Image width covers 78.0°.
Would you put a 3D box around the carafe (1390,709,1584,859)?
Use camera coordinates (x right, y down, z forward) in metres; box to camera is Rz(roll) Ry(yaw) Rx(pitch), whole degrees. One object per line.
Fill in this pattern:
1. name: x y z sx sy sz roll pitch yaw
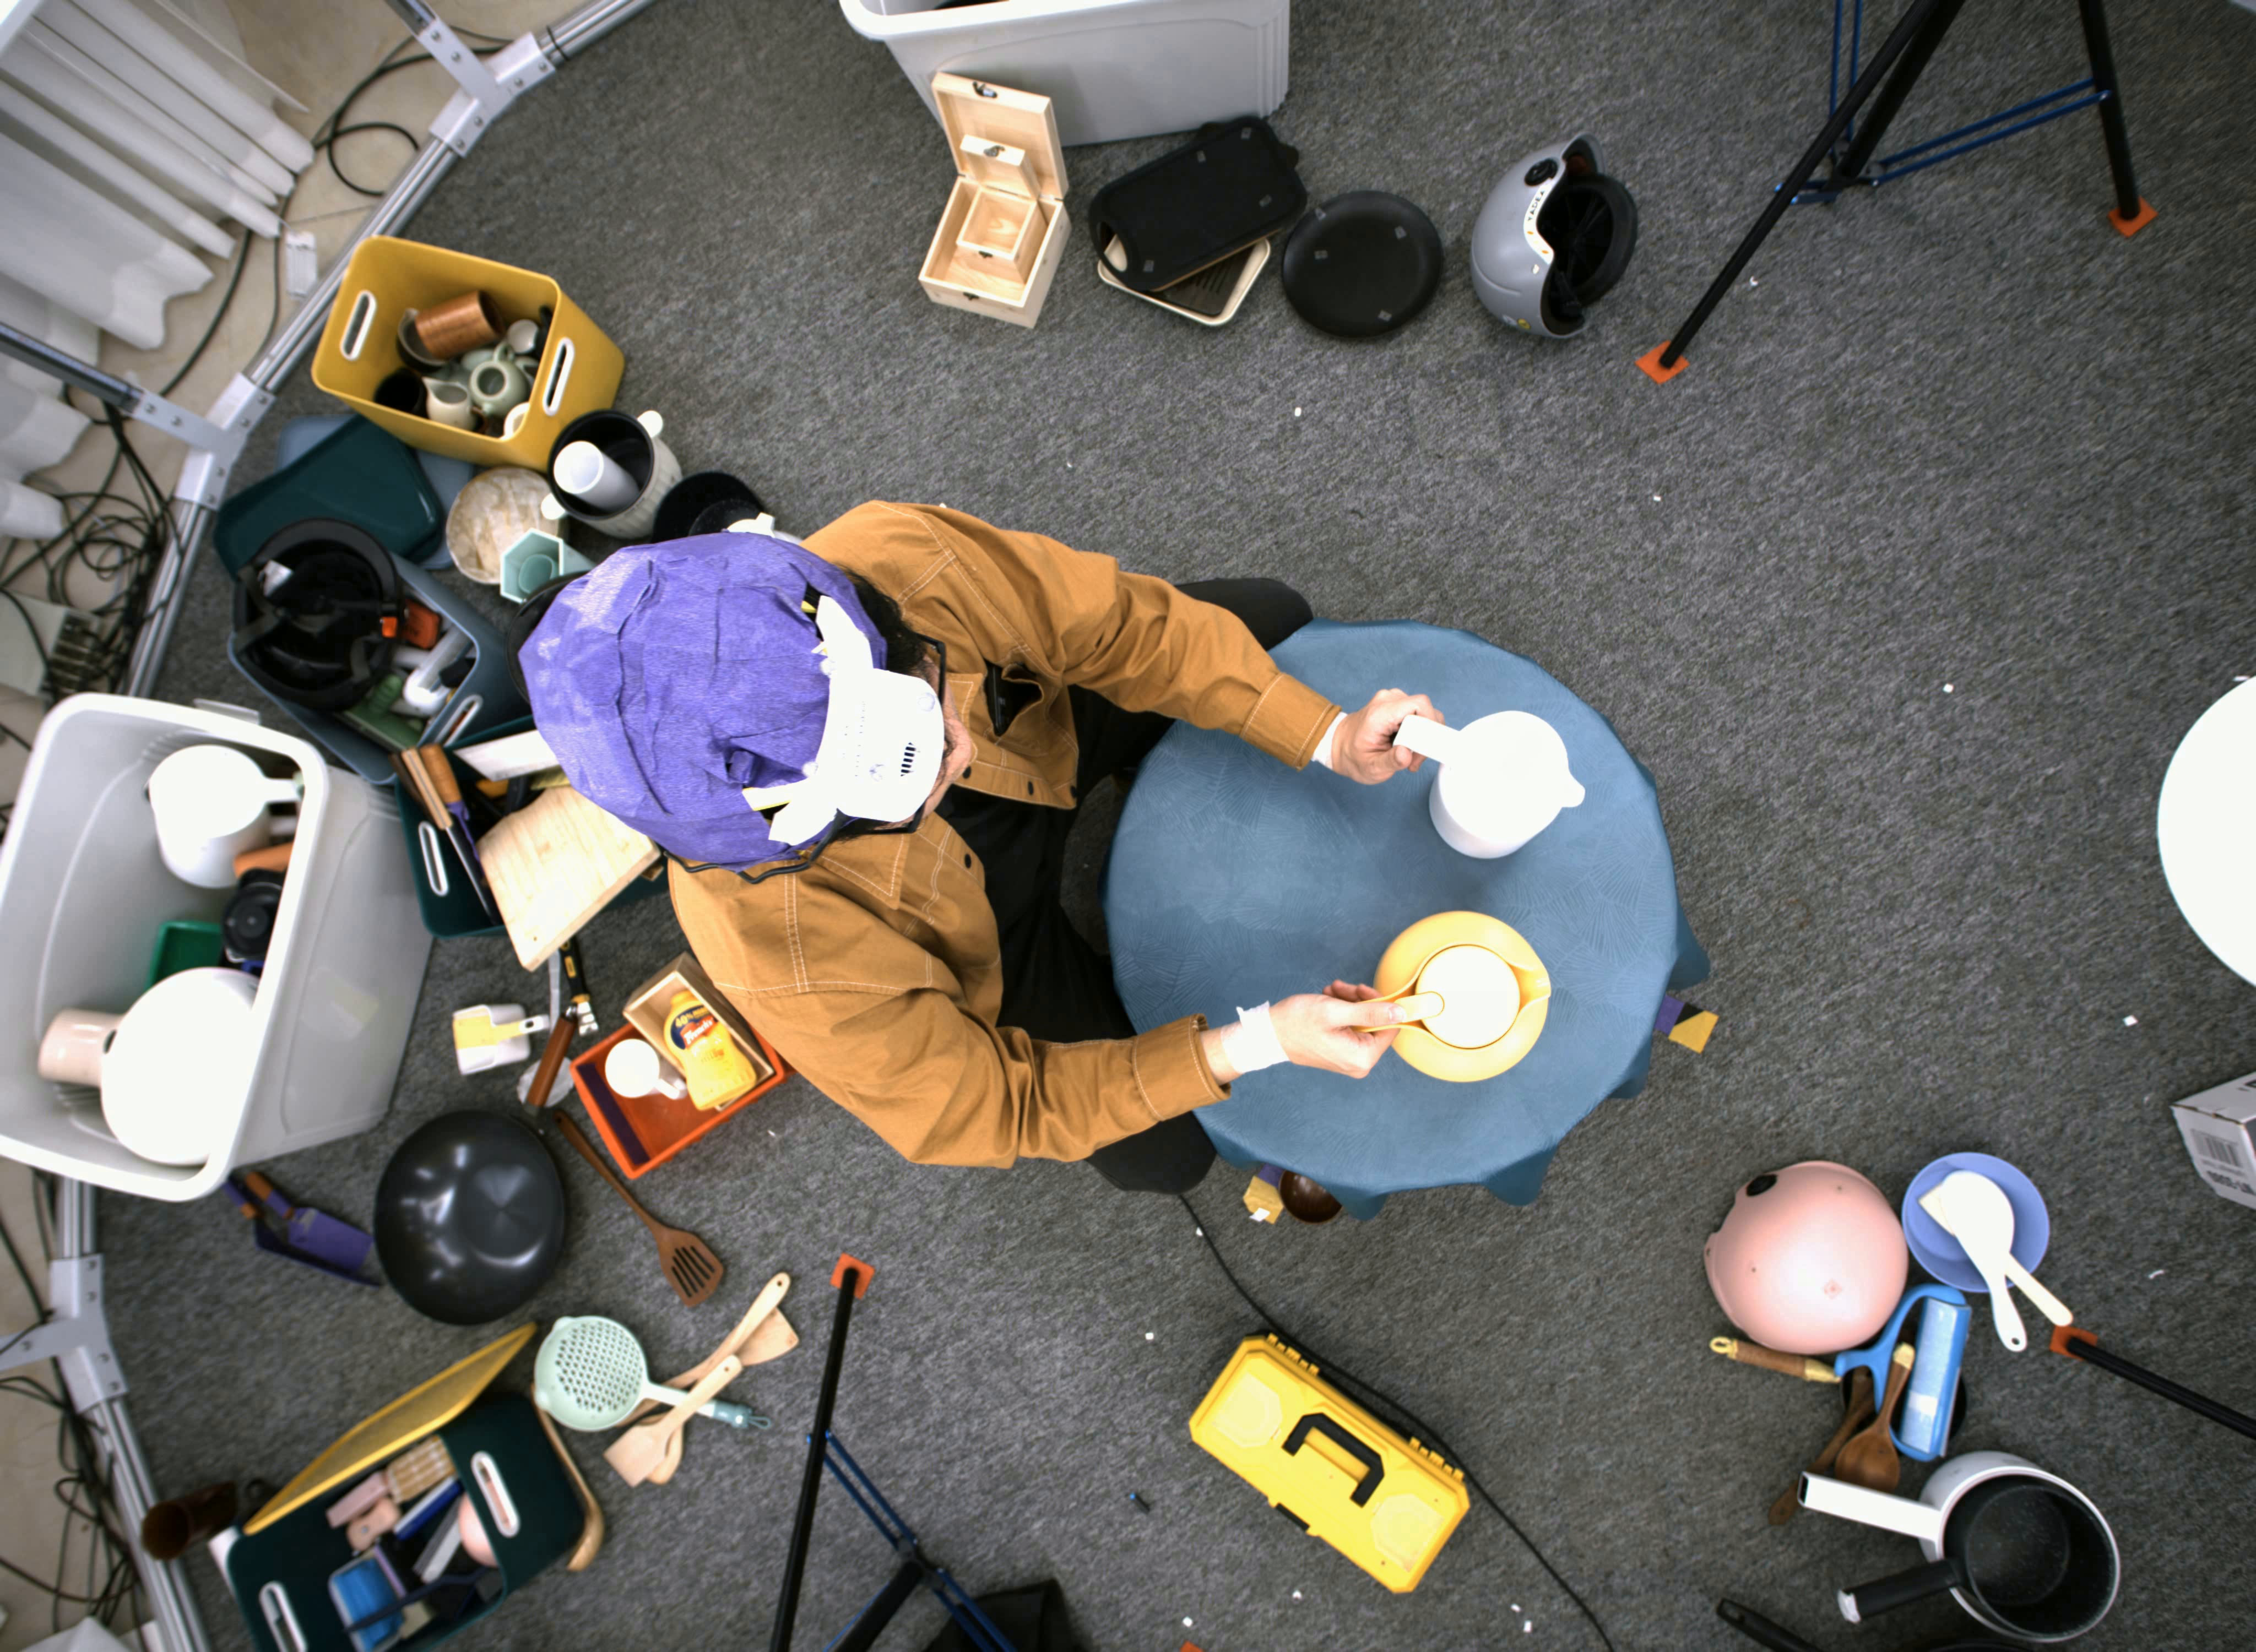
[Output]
1. carafe: 0.337 -0.044 1.318 0.173 0.268 0.124 23 91 12

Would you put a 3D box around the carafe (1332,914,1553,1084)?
1. carafe: 0.296 0.165 1.318 0.203 0.261 0.162 -10 80 8
